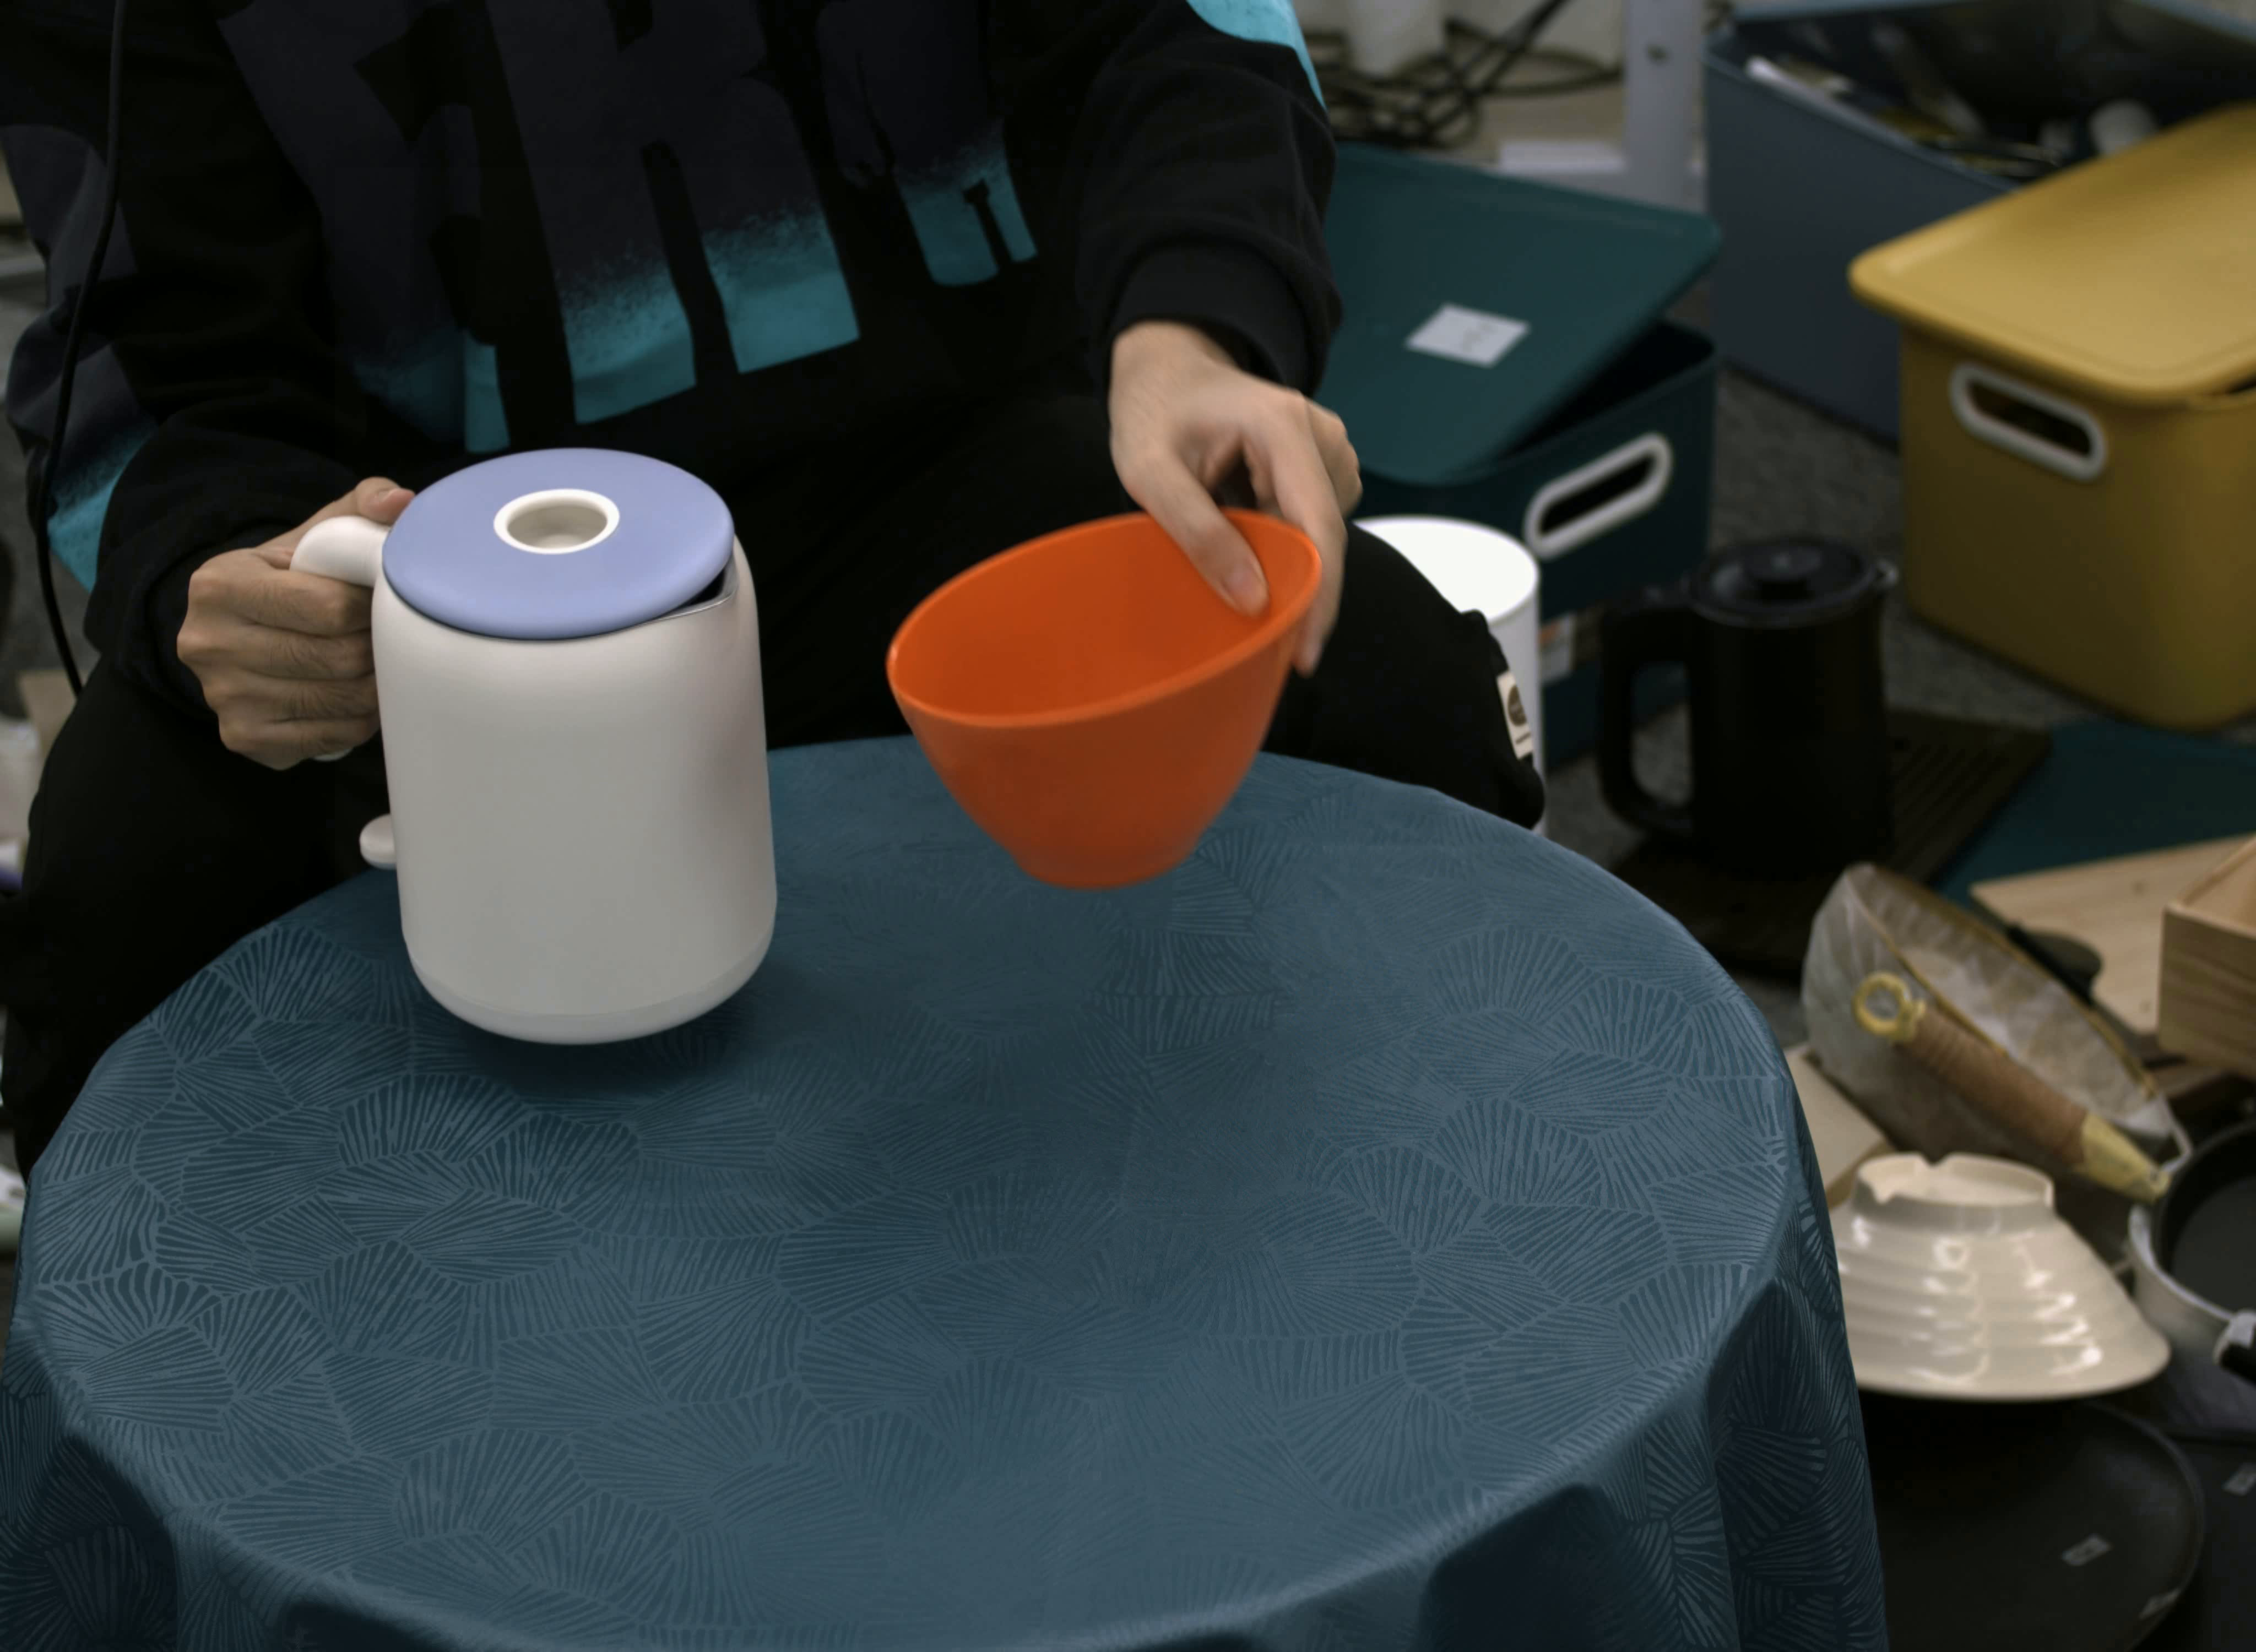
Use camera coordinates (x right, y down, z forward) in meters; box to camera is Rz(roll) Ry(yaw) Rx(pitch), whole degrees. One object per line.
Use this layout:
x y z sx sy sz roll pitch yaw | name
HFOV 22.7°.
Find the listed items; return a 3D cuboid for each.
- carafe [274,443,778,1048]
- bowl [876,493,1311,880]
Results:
-0.211 -0.033 1.935 0.190 0.180 0.134 12 33 24 | carafe
-0.007 -0.040 1.876 0.147 0.103 0.150 -5 33 4 | bowl
